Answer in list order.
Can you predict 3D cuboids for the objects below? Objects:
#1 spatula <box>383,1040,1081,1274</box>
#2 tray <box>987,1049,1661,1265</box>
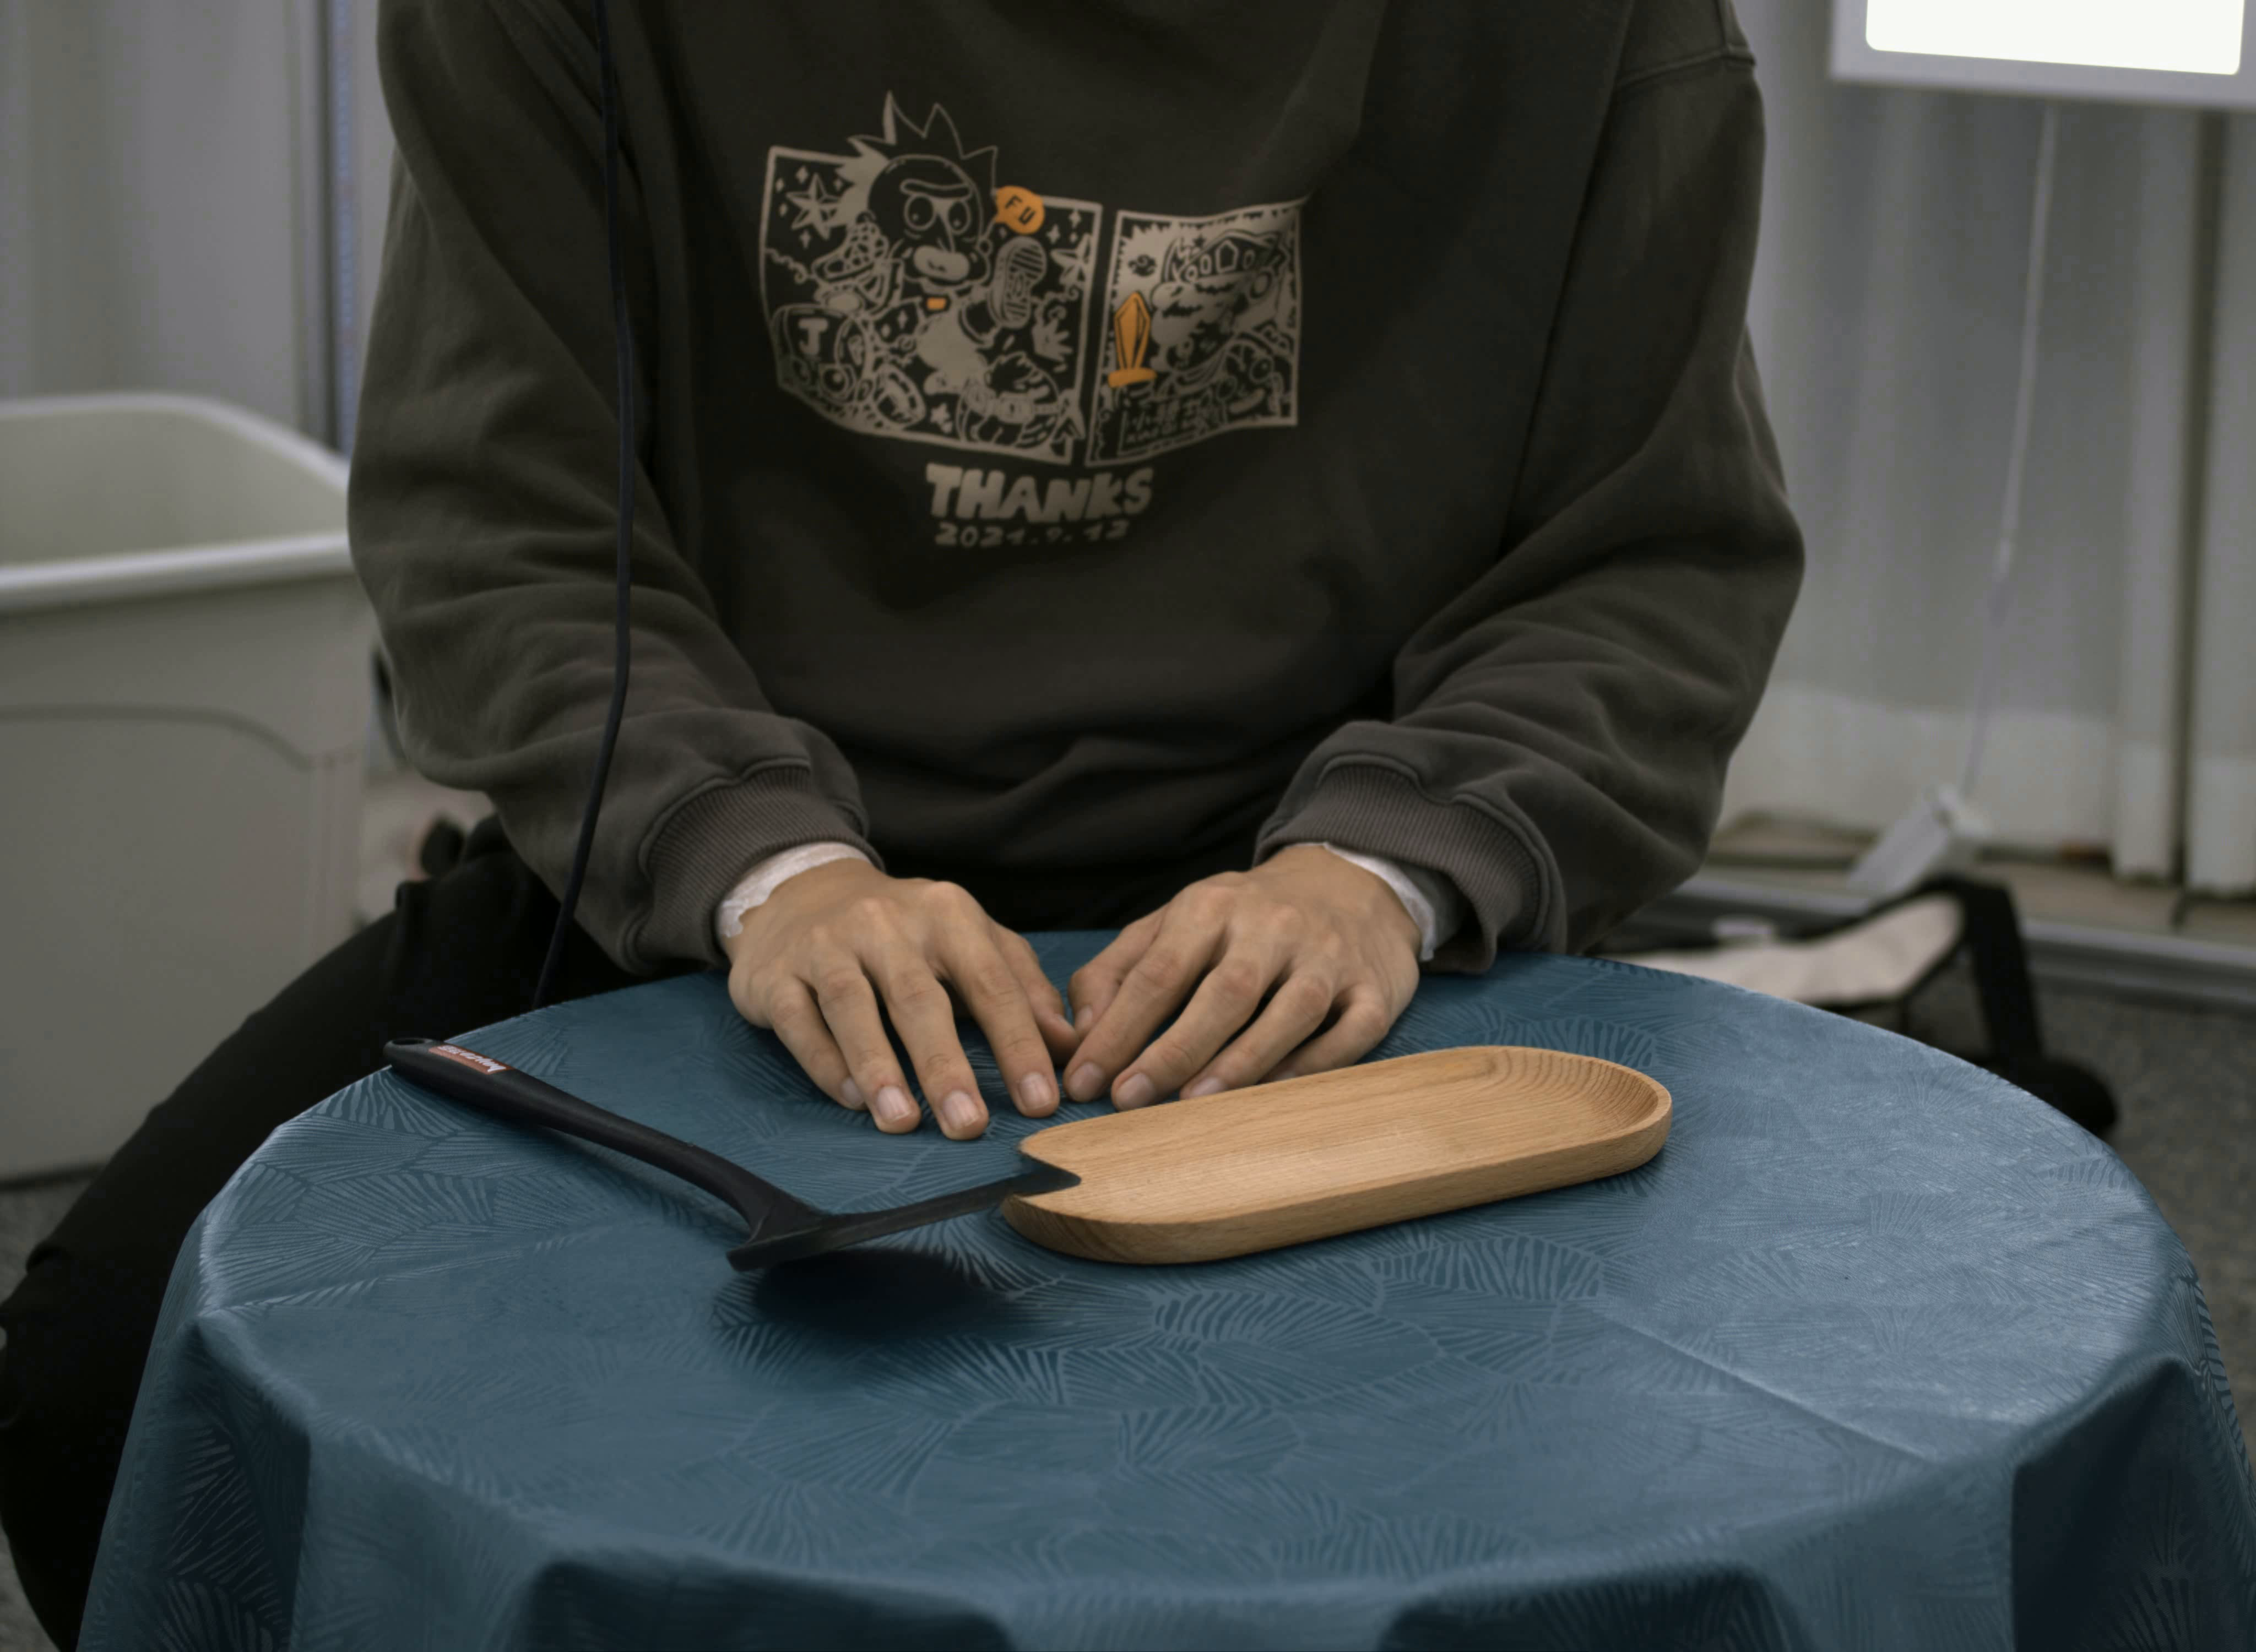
[{"bbox_3d":[-0.145,0.094,1.623,0.100,0.040,0.322,-10,19,-37],"label":"spatula"},{"bbox_3d":[0.063,0.103,1.639,0.232,0.020,0.100,-10,18,-30],"label":"tray"}]
